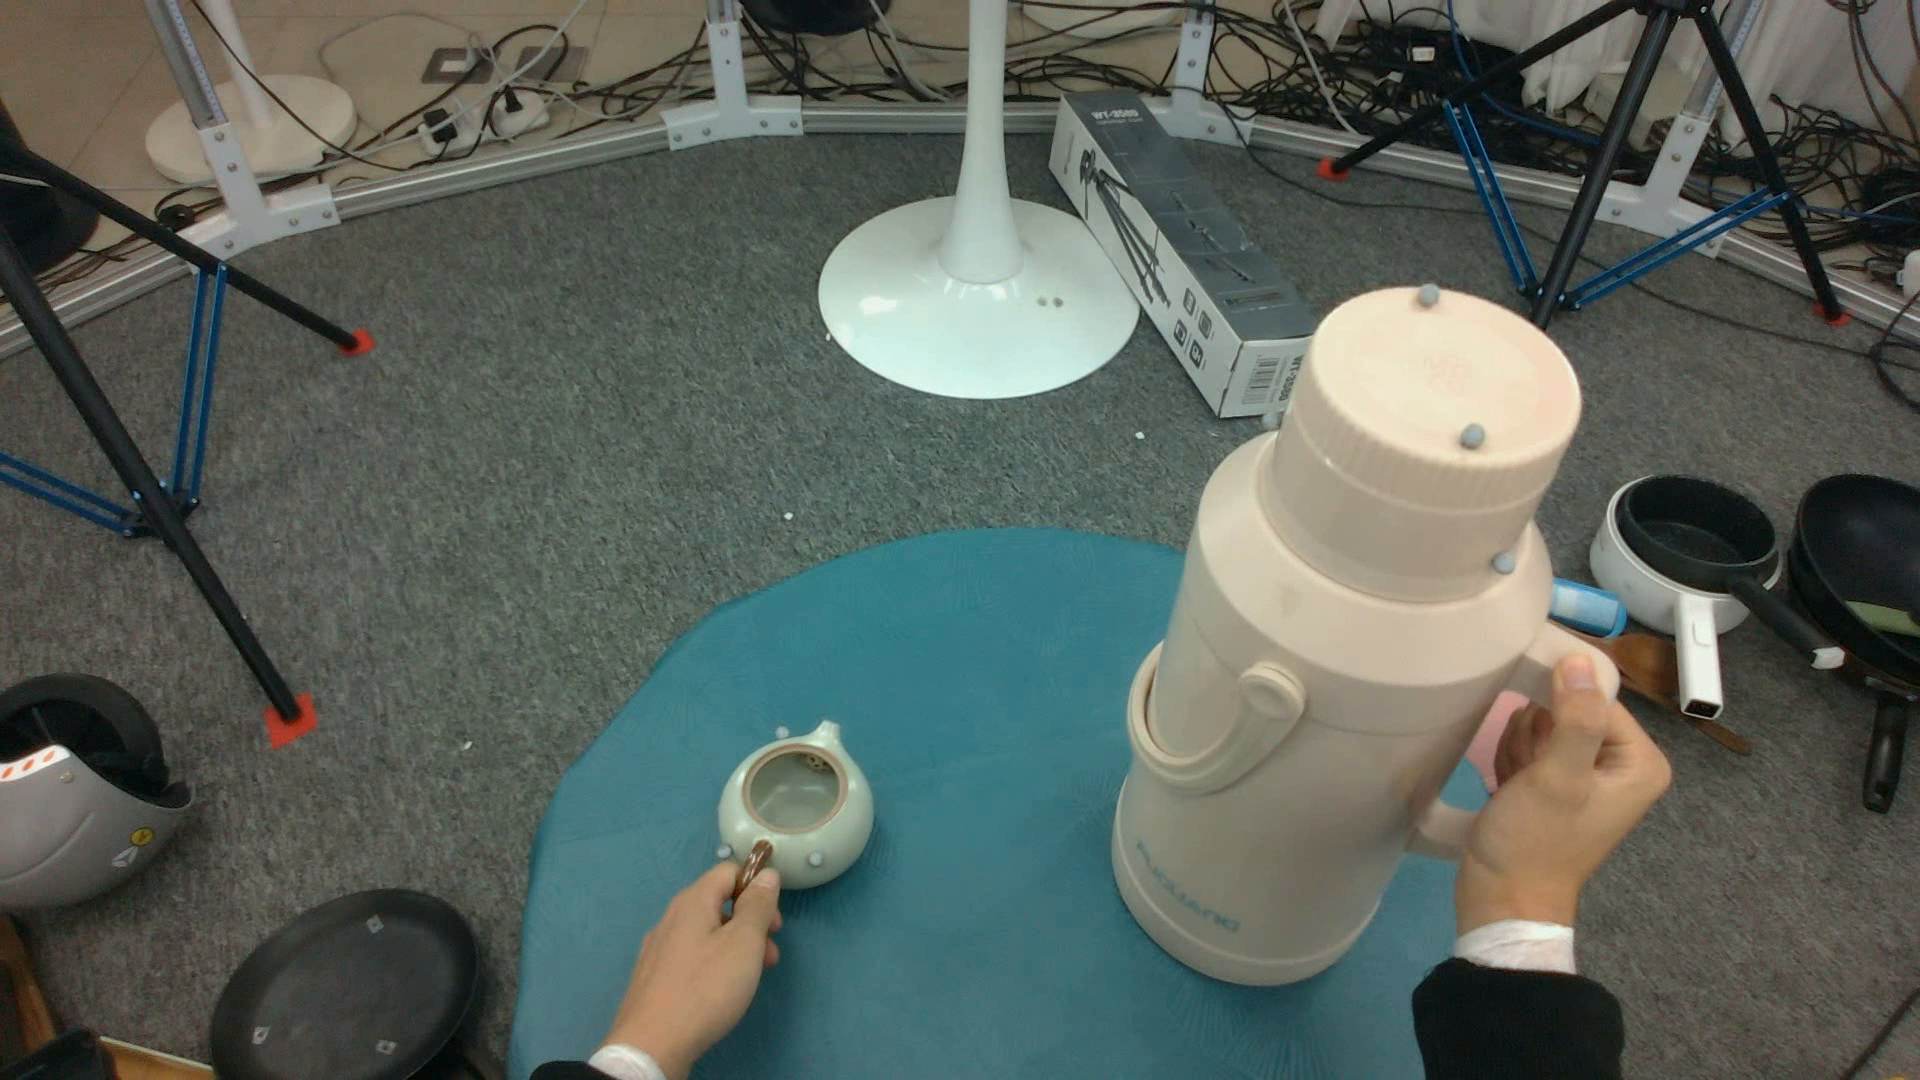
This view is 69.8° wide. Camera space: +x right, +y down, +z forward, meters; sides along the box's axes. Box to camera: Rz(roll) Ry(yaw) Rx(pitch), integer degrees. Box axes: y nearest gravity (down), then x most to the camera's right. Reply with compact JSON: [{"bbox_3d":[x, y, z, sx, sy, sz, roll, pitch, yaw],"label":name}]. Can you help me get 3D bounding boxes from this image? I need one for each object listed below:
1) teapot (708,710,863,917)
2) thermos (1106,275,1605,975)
[{"bbox_3d":[-0.106,0.164,0.813,0.092,0.059,0.129,17,49,8],"label":"teapot"},{"bbox_3d":[0.186,0.067,0.685,0.207,0.404,0.176,28,52,21],"label":"thermos"}]
